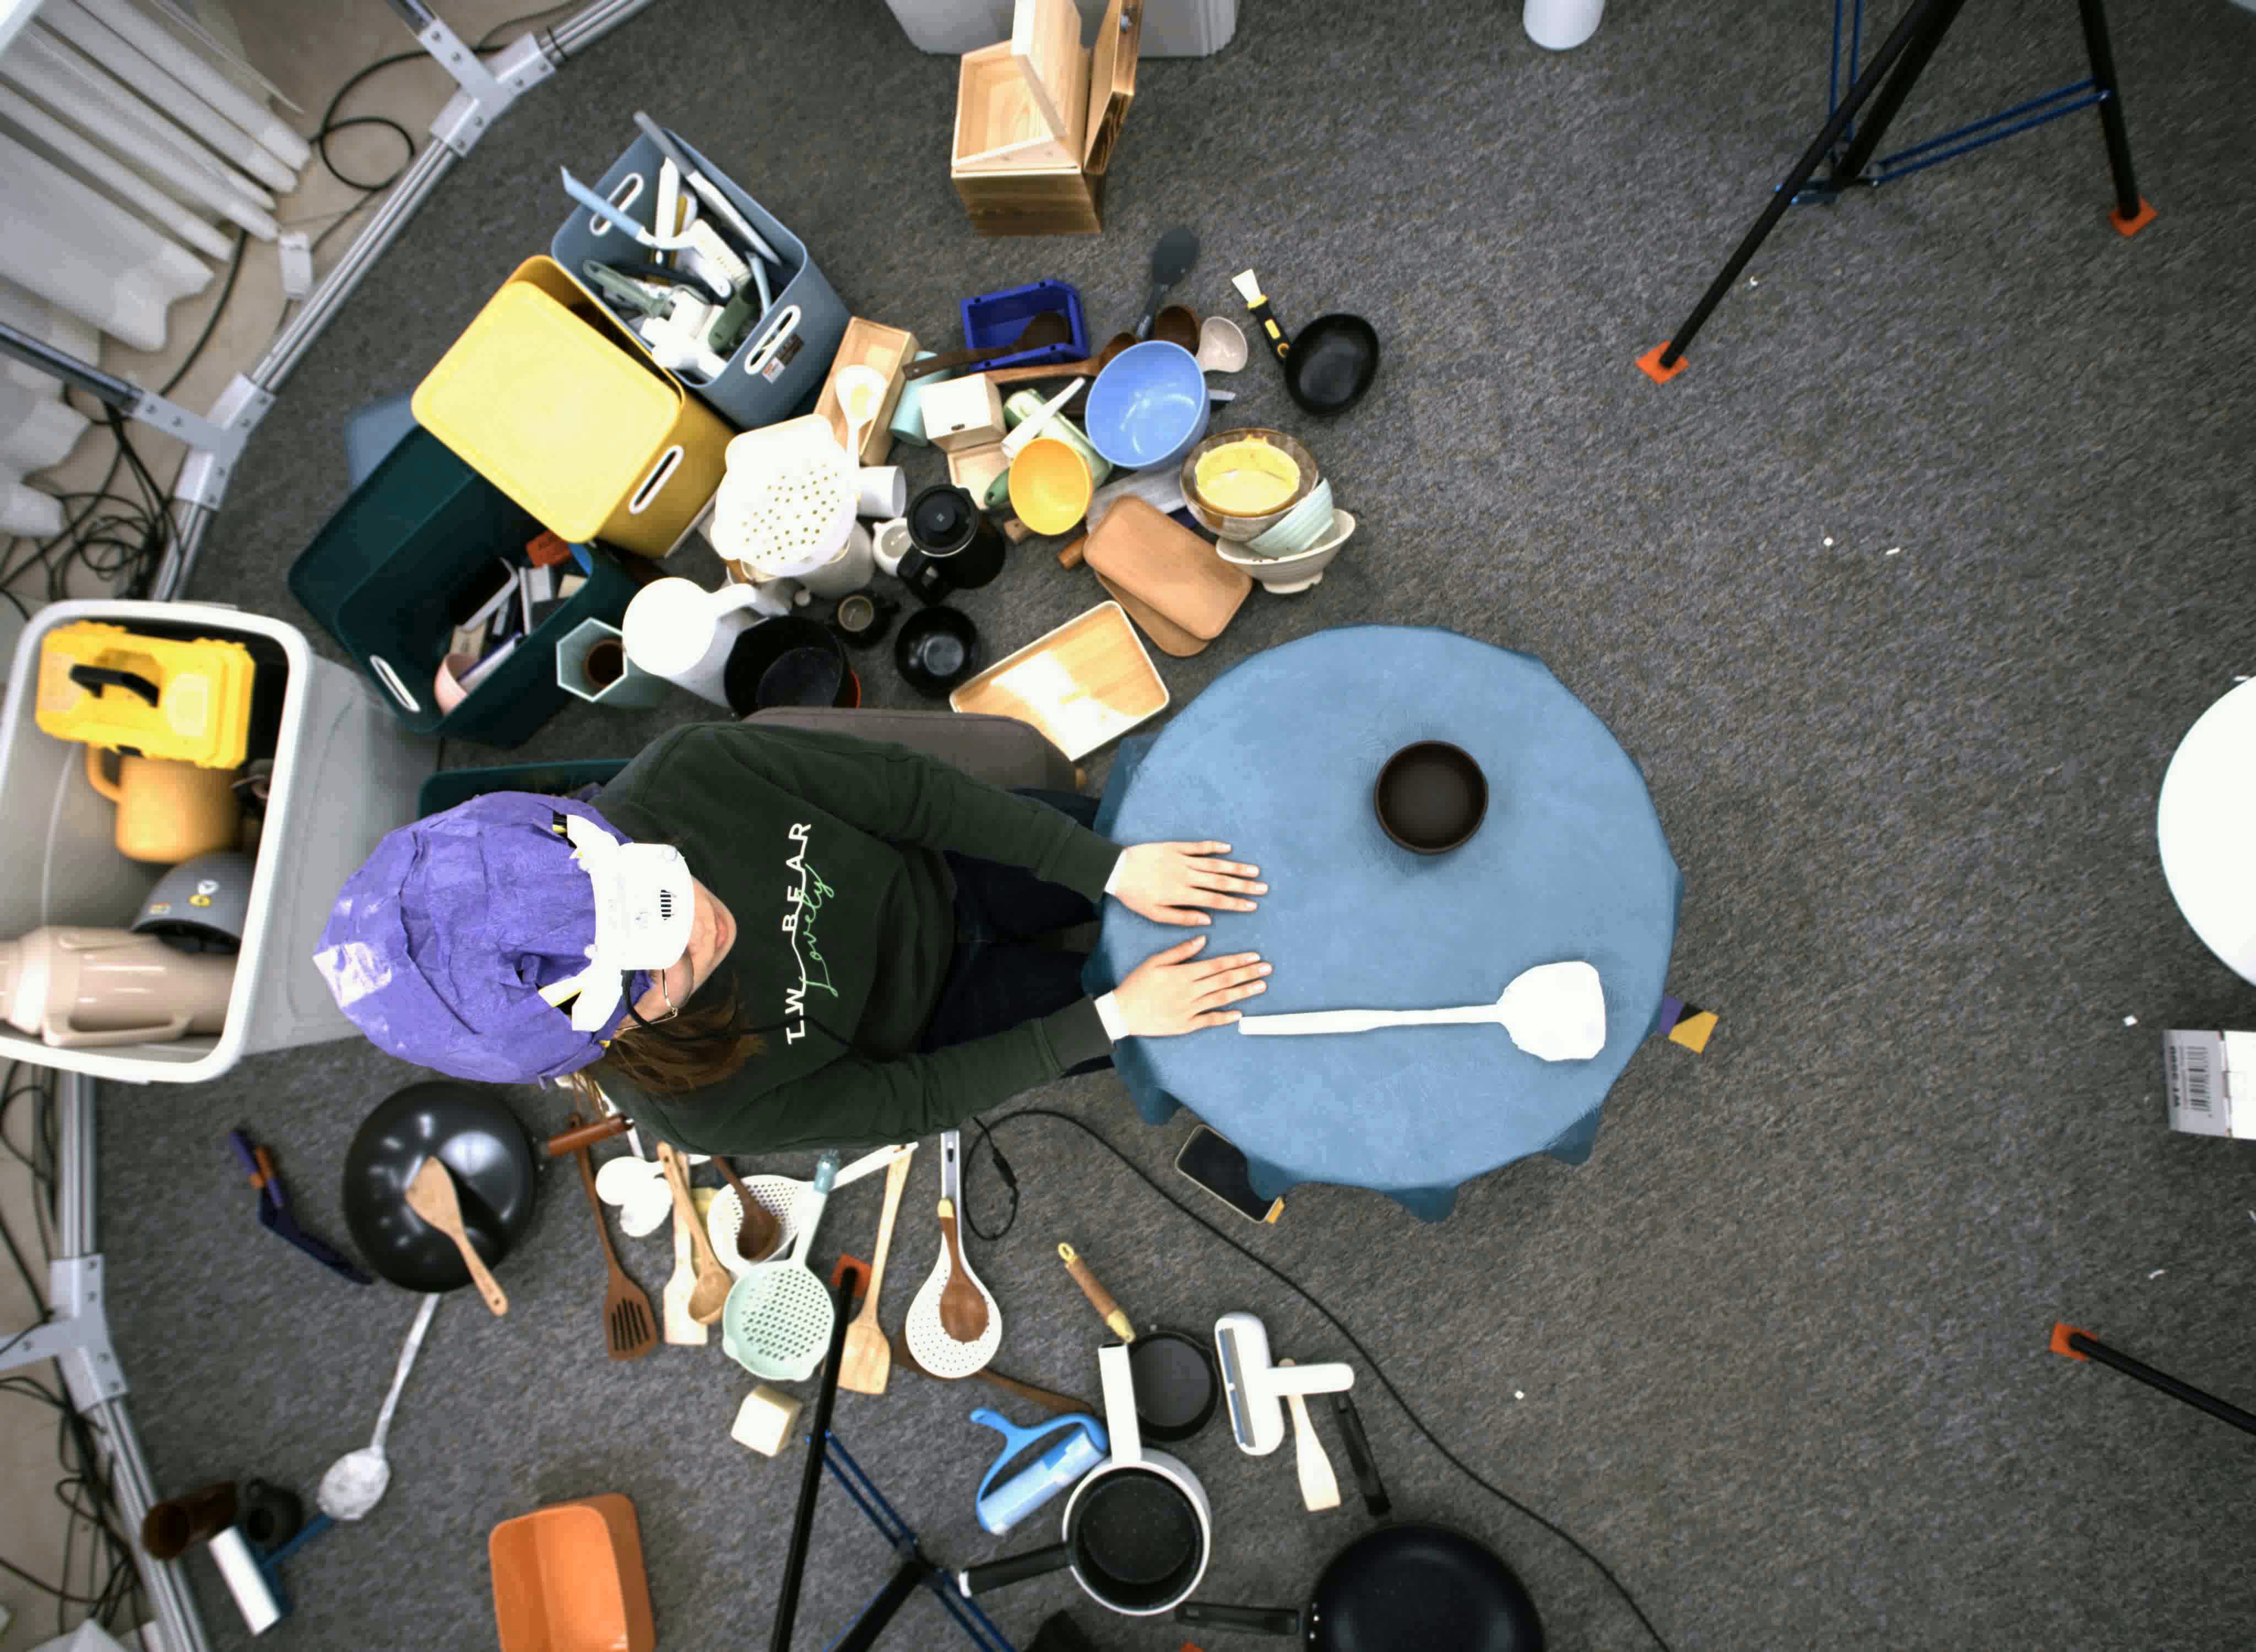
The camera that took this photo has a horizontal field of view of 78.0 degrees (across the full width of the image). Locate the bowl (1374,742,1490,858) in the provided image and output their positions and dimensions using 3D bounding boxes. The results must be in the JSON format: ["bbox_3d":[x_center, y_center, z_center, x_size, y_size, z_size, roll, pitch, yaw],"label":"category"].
[{"bbox_3d":[0.314,-0.025,1.427,0.118,0.070,0.117,-1,83,11],"label":"bowl"}]

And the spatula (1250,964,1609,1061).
[{"bbox_3d":[0.306,0.194,1.430,0.366,0.045,0.098,-3,87,10],"label":"spatula"}]
